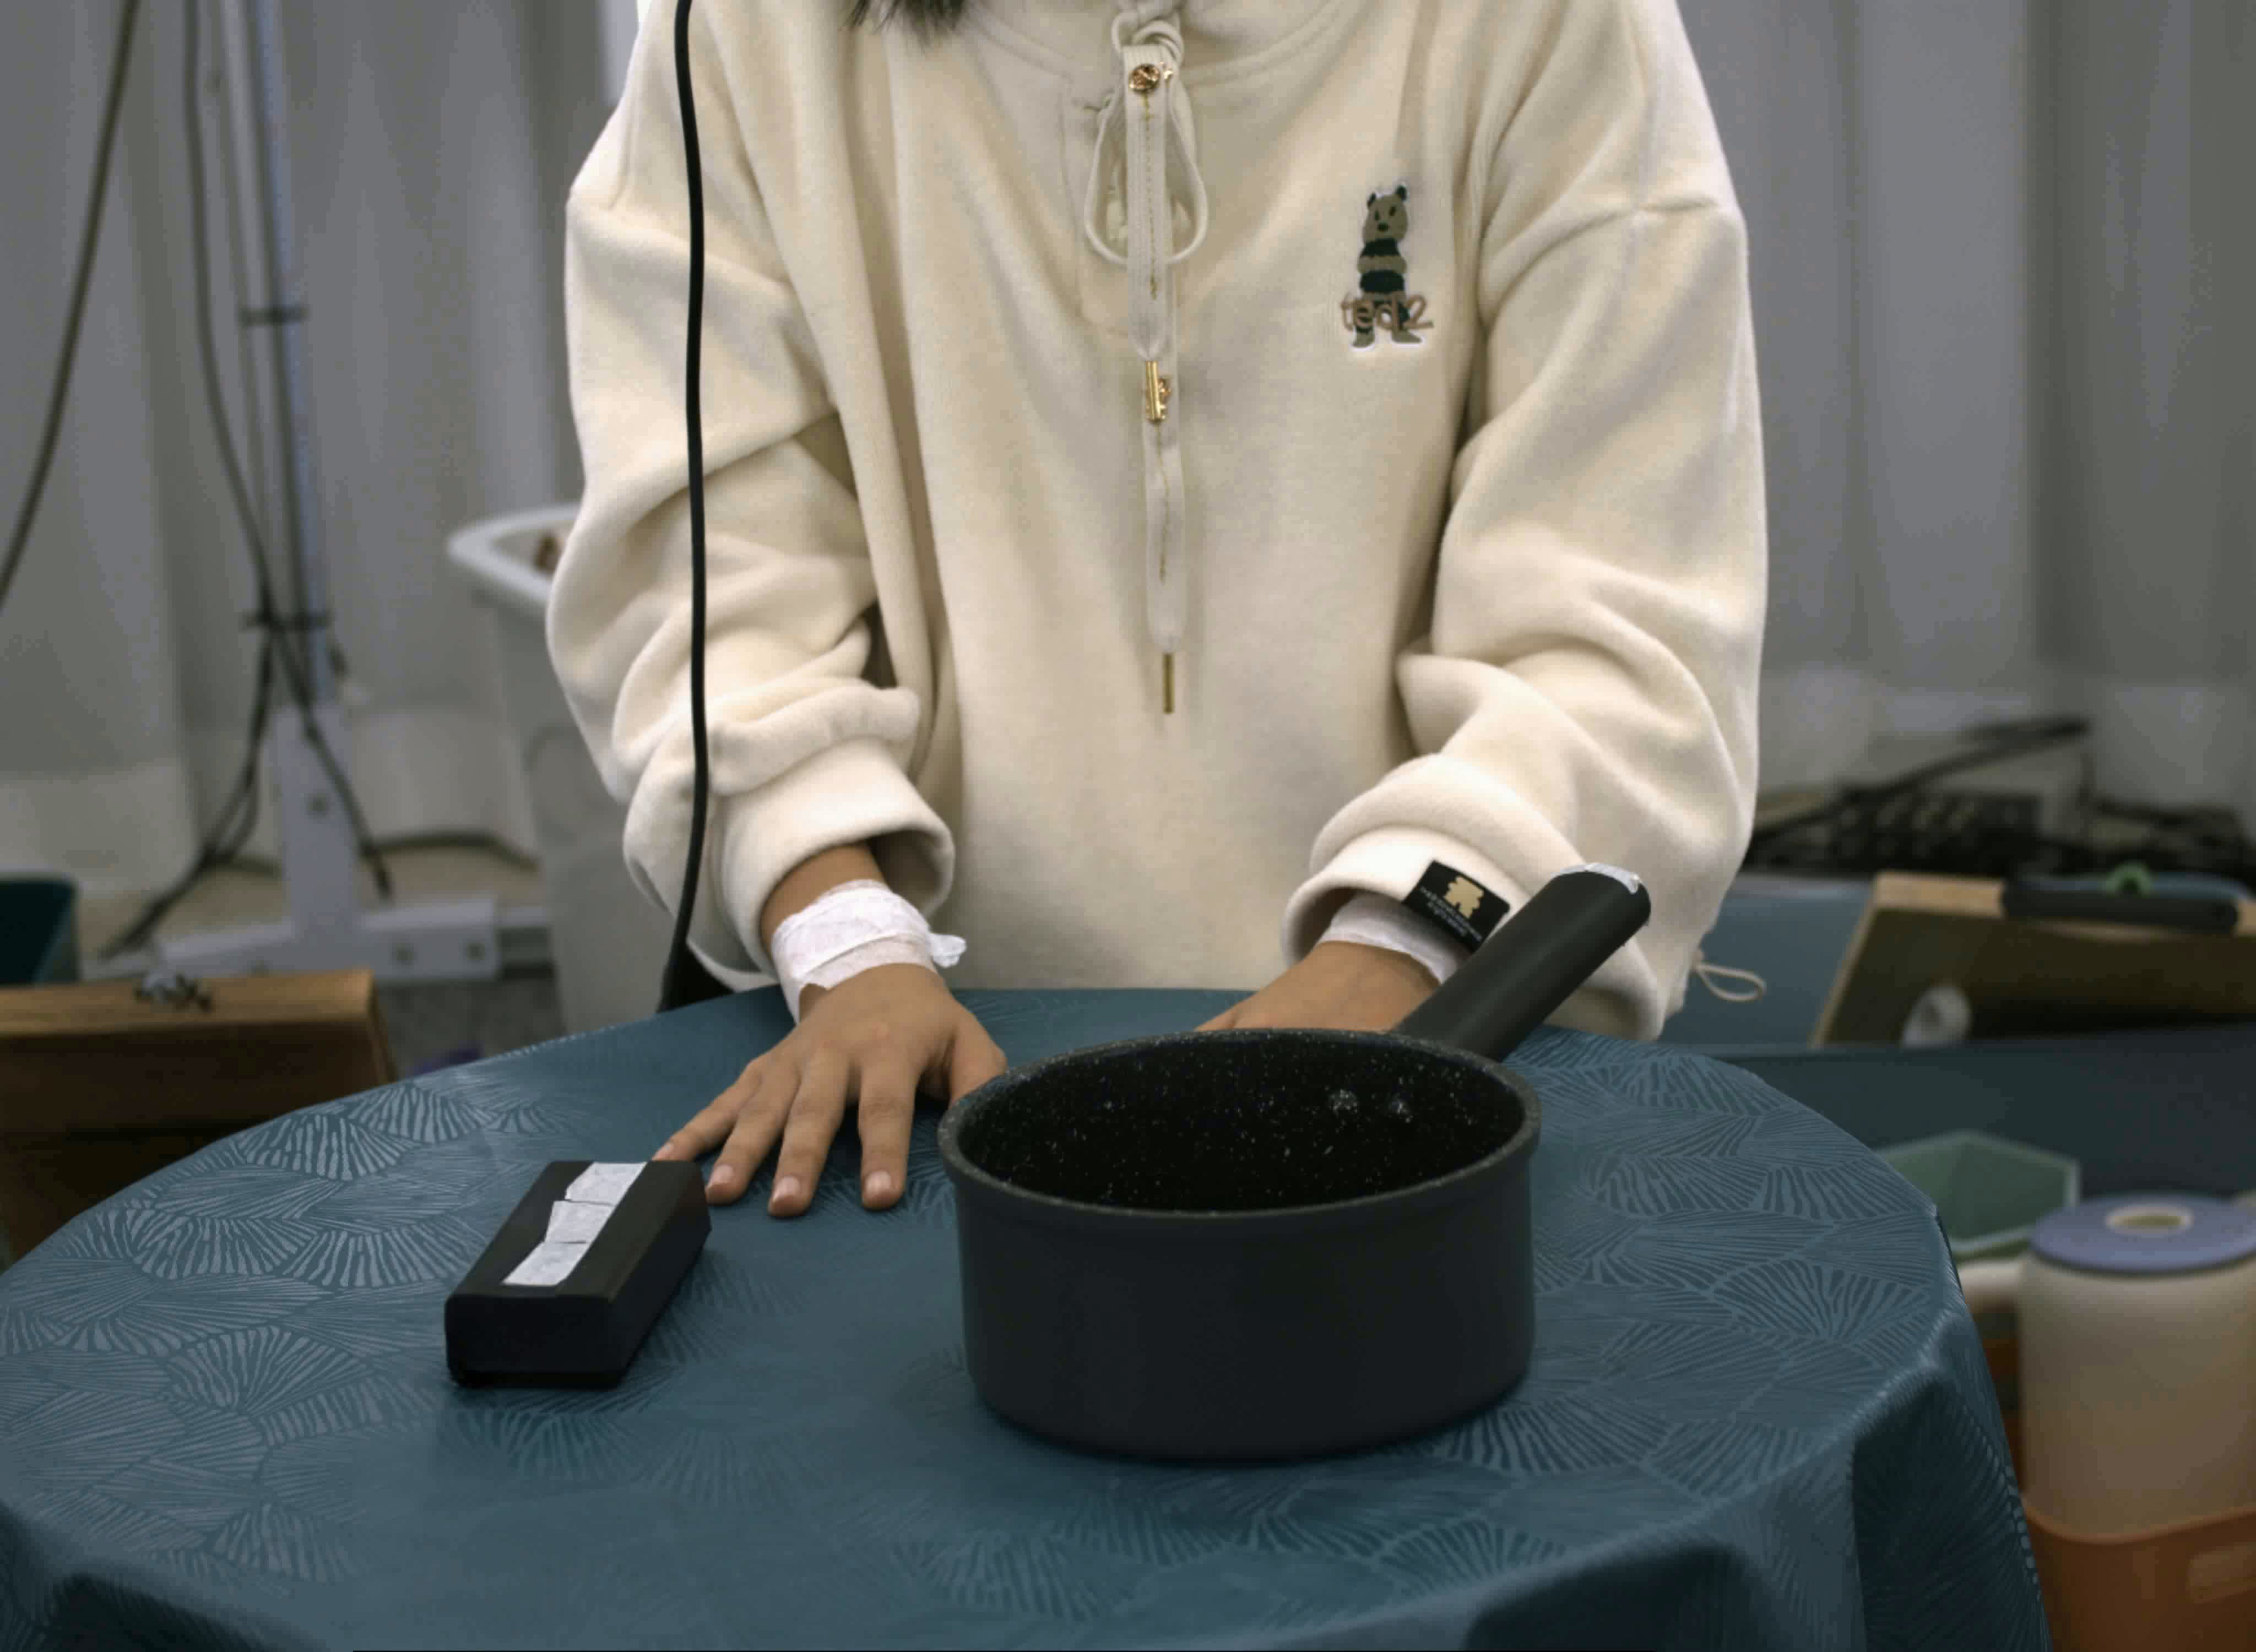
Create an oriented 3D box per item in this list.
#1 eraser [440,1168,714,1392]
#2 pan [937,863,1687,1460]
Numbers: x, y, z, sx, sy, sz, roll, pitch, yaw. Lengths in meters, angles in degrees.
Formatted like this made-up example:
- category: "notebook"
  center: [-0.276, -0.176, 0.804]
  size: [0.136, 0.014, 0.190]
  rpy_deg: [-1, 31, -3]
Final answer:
- category: "eraser"
  center: [-0.161, 0.134, 1.622]
  size: [0.053, 0.030, 0.126]
  rpy_deg: [0, 14, 9]
- category: "pan"
  center: [0.076, 0.095, 1.612]
  size: [0.172, 0.086, 0.329]
  rpy_deg: [7, 19, 32]
